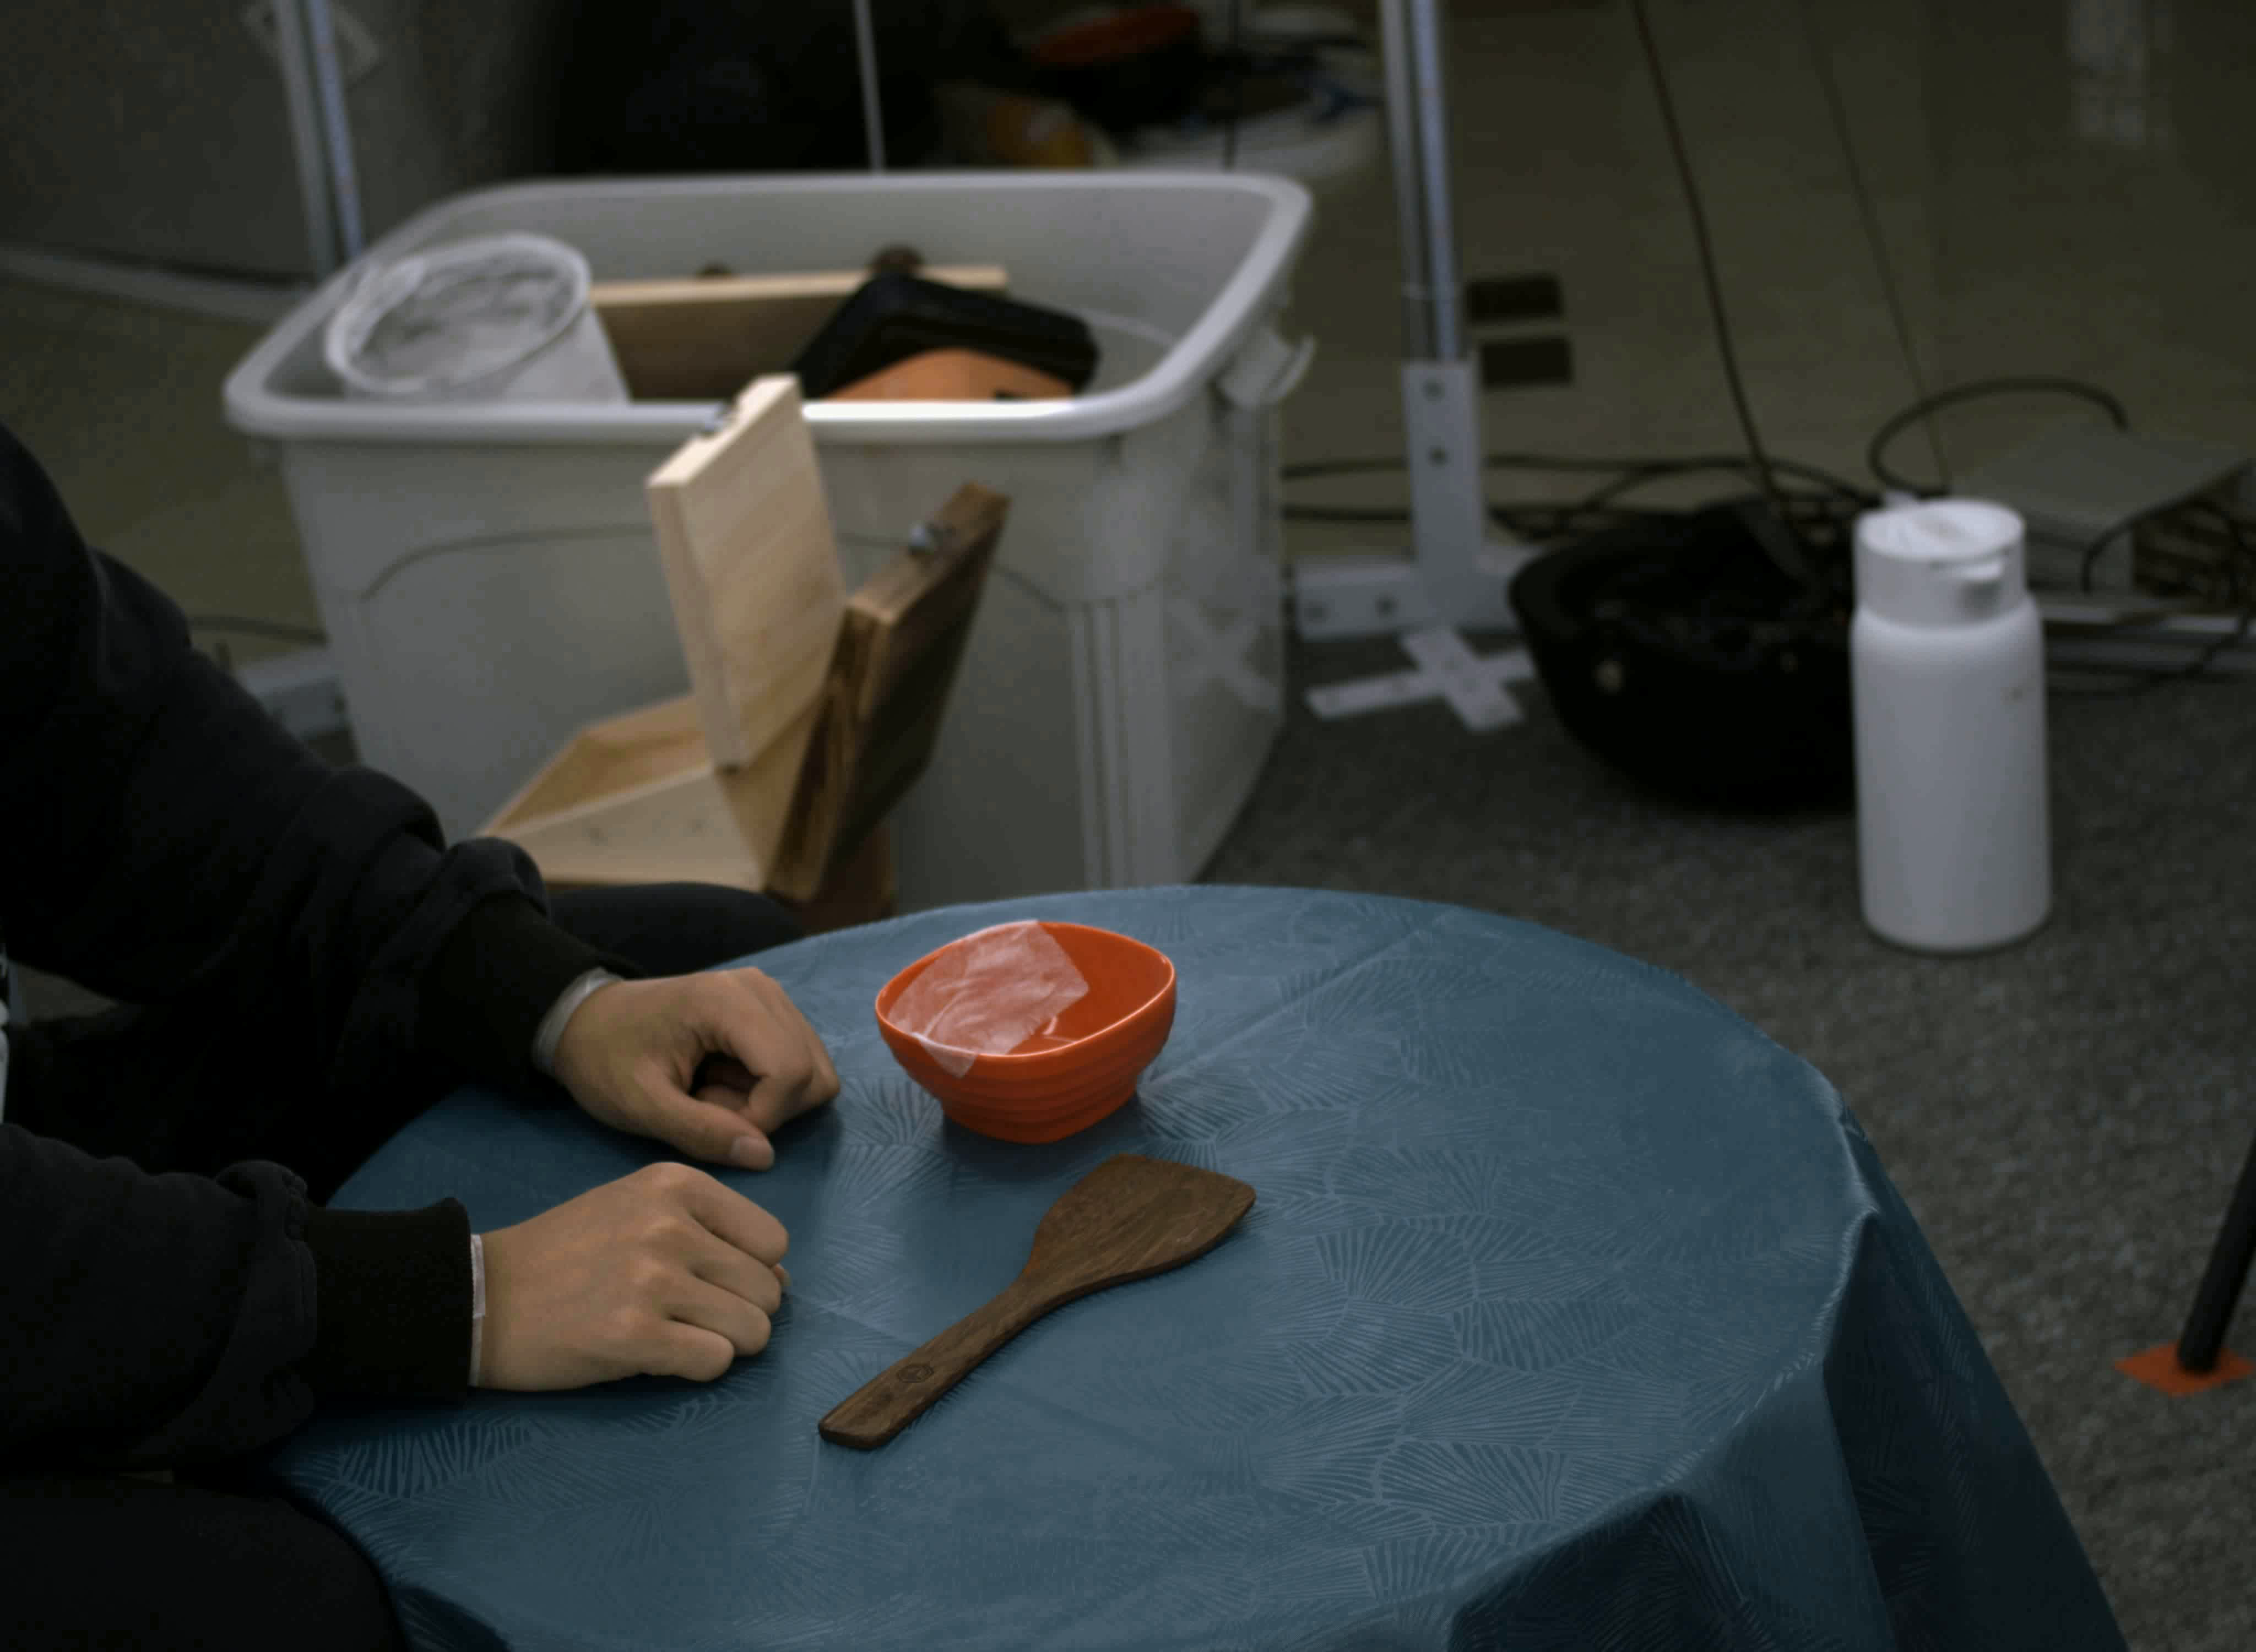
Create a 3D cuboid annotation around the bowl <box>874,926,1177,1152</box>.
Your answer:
[{"bbox_3d":[-0.038,0.087,2.217,0.119,0.052,0.117,-5,26,3],"label":"bowl"}]

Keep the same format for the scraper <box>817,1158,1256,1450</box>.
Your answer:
[{"bbox_3d":[-0.039,0.176,2.075,0.075,0.011,0.209,12,31,37],"label":"scraper"}]
